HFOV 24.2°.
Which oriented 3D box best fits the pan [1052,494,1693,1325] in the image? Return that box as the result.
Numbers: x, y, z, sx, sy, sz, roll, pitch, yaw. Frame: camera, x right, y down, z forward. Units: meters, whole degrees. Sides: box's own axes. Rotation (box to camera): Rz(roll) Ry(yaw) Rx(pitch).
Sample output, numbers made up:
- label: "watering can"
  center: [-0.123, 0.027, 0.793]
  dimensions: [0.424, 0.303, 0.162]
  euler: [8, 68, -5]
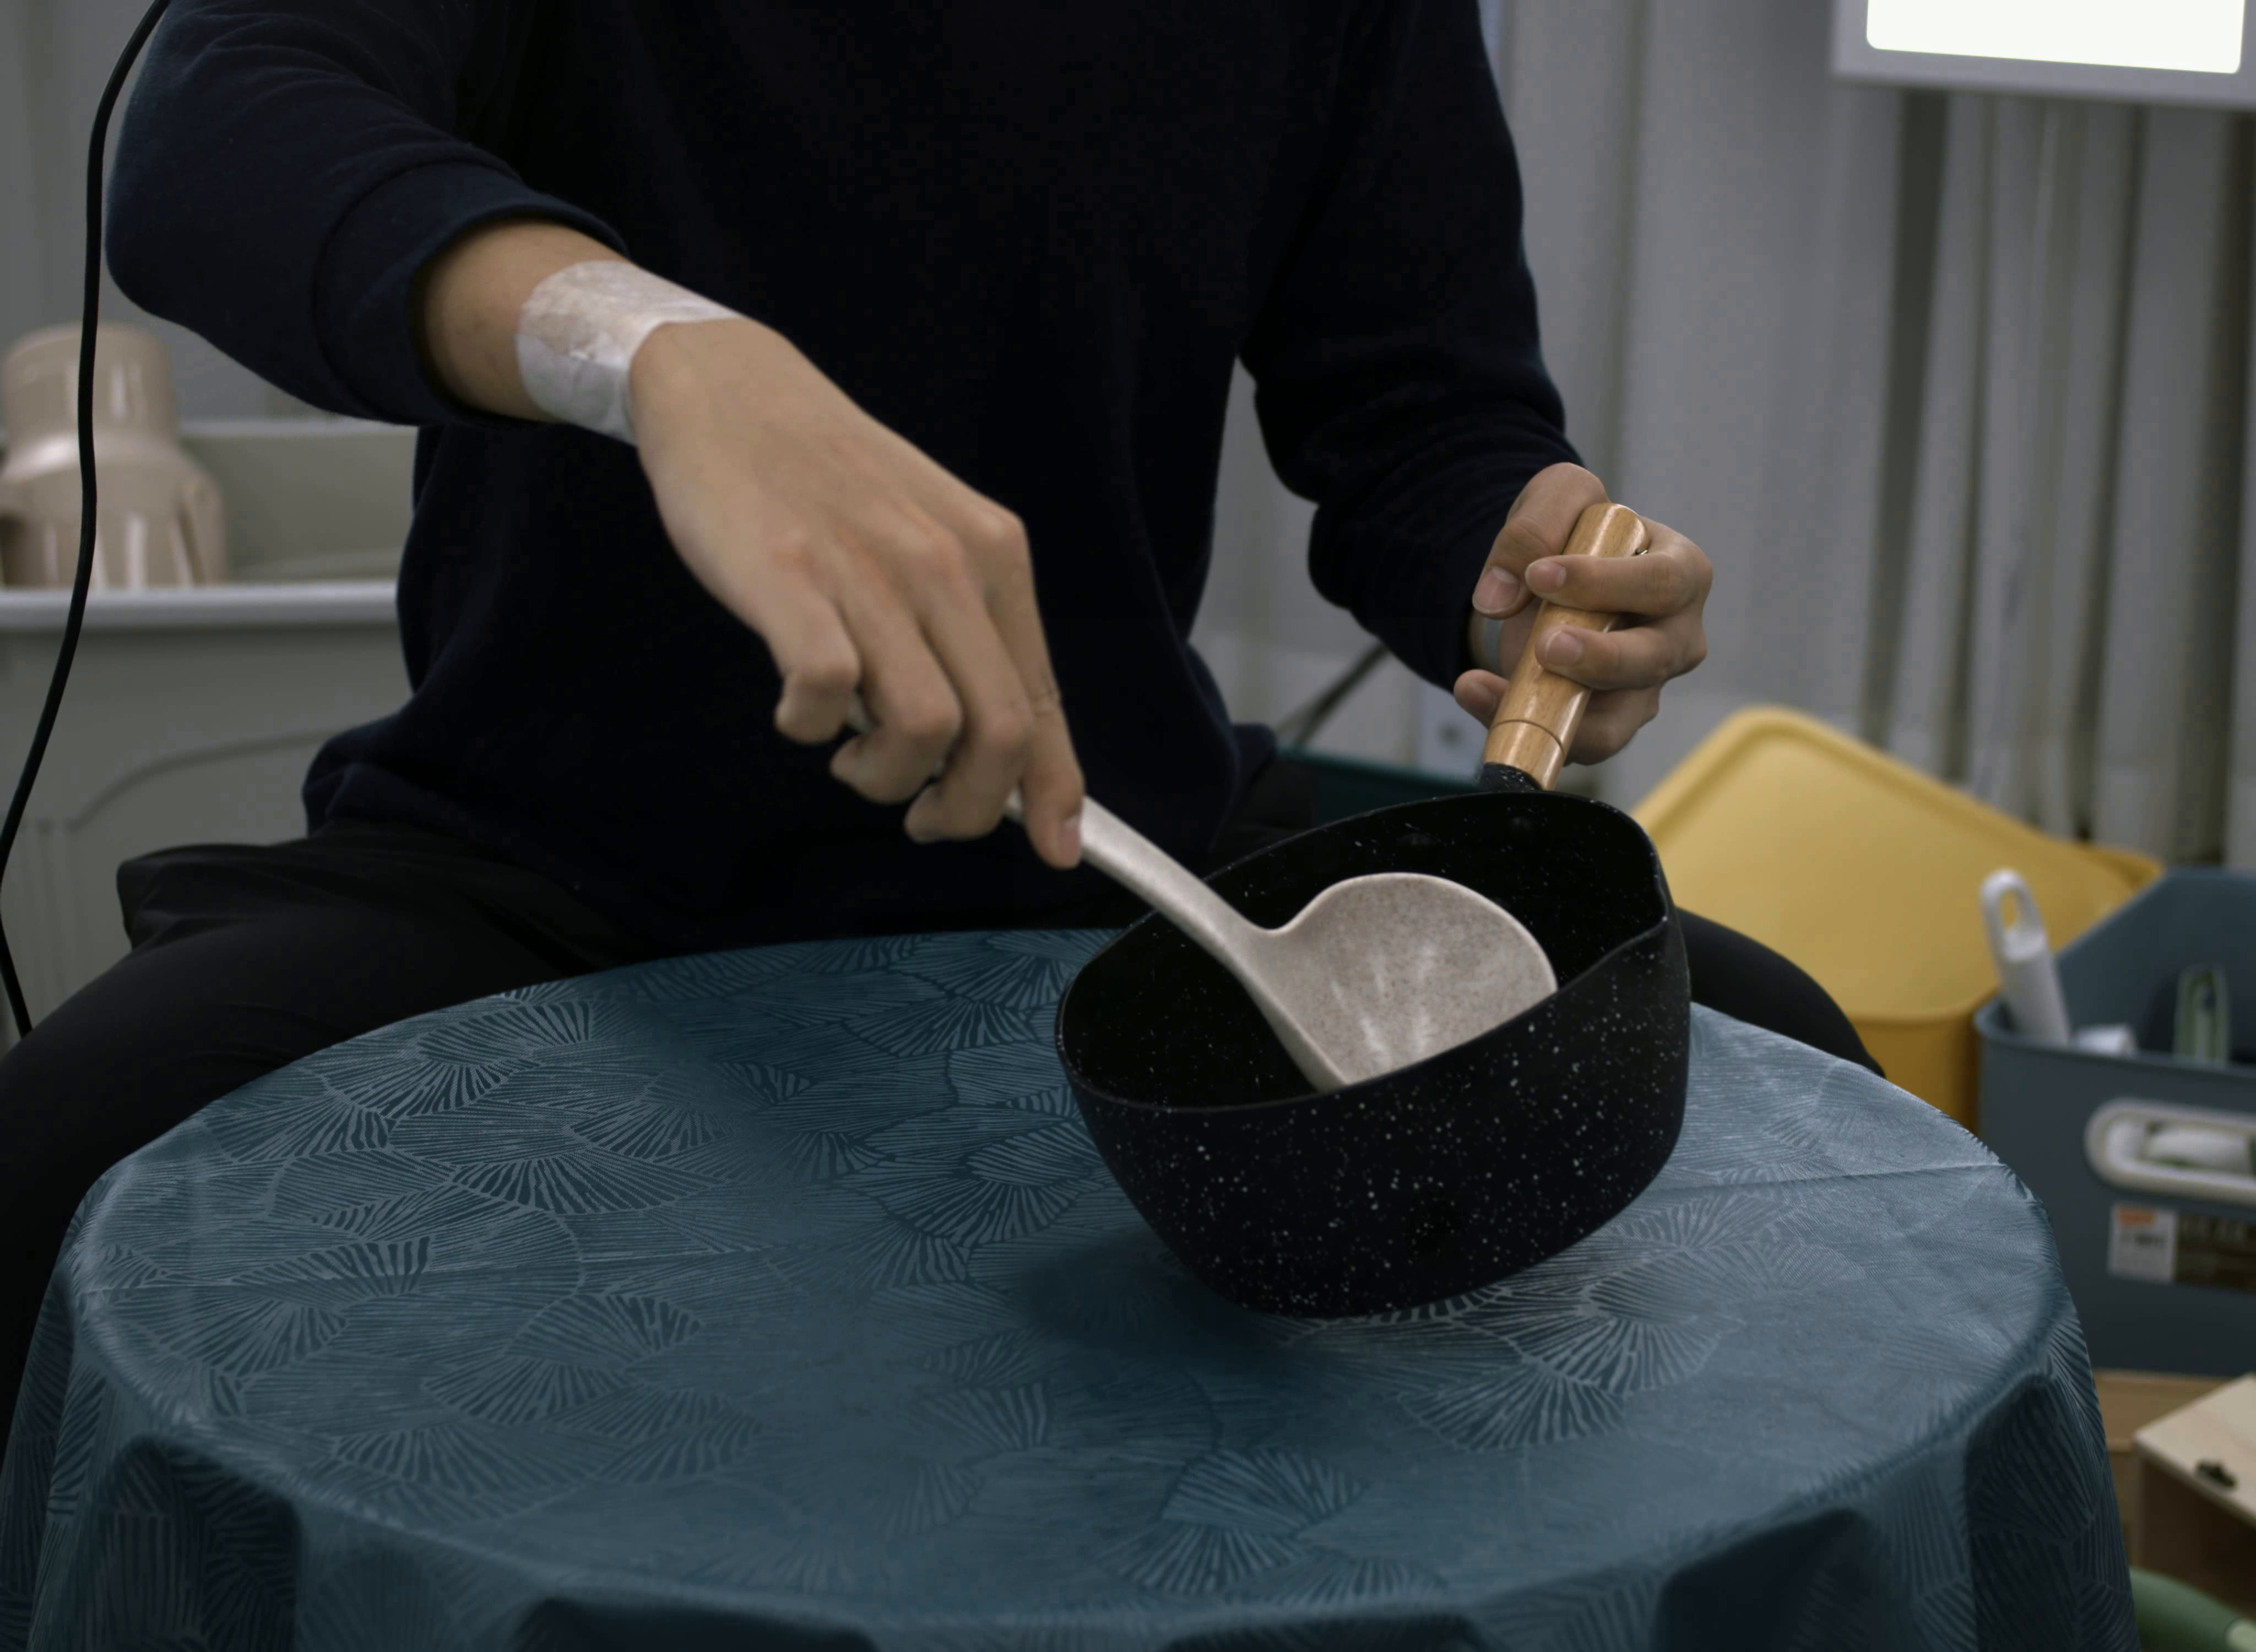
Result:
- label: "pan"
  center: [0.104, 0.021, 1.600]
  dimensions: [0.205, 0.109, 0.342]
  euler: [-8, 26, 29]

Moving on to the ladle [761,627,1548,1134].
- label: "ladle"
  center: [0.015, 0.001, 1.403]
  dimensions: [0.069, 0.088, 0.278]
  euler: [-25, -39, 26]
